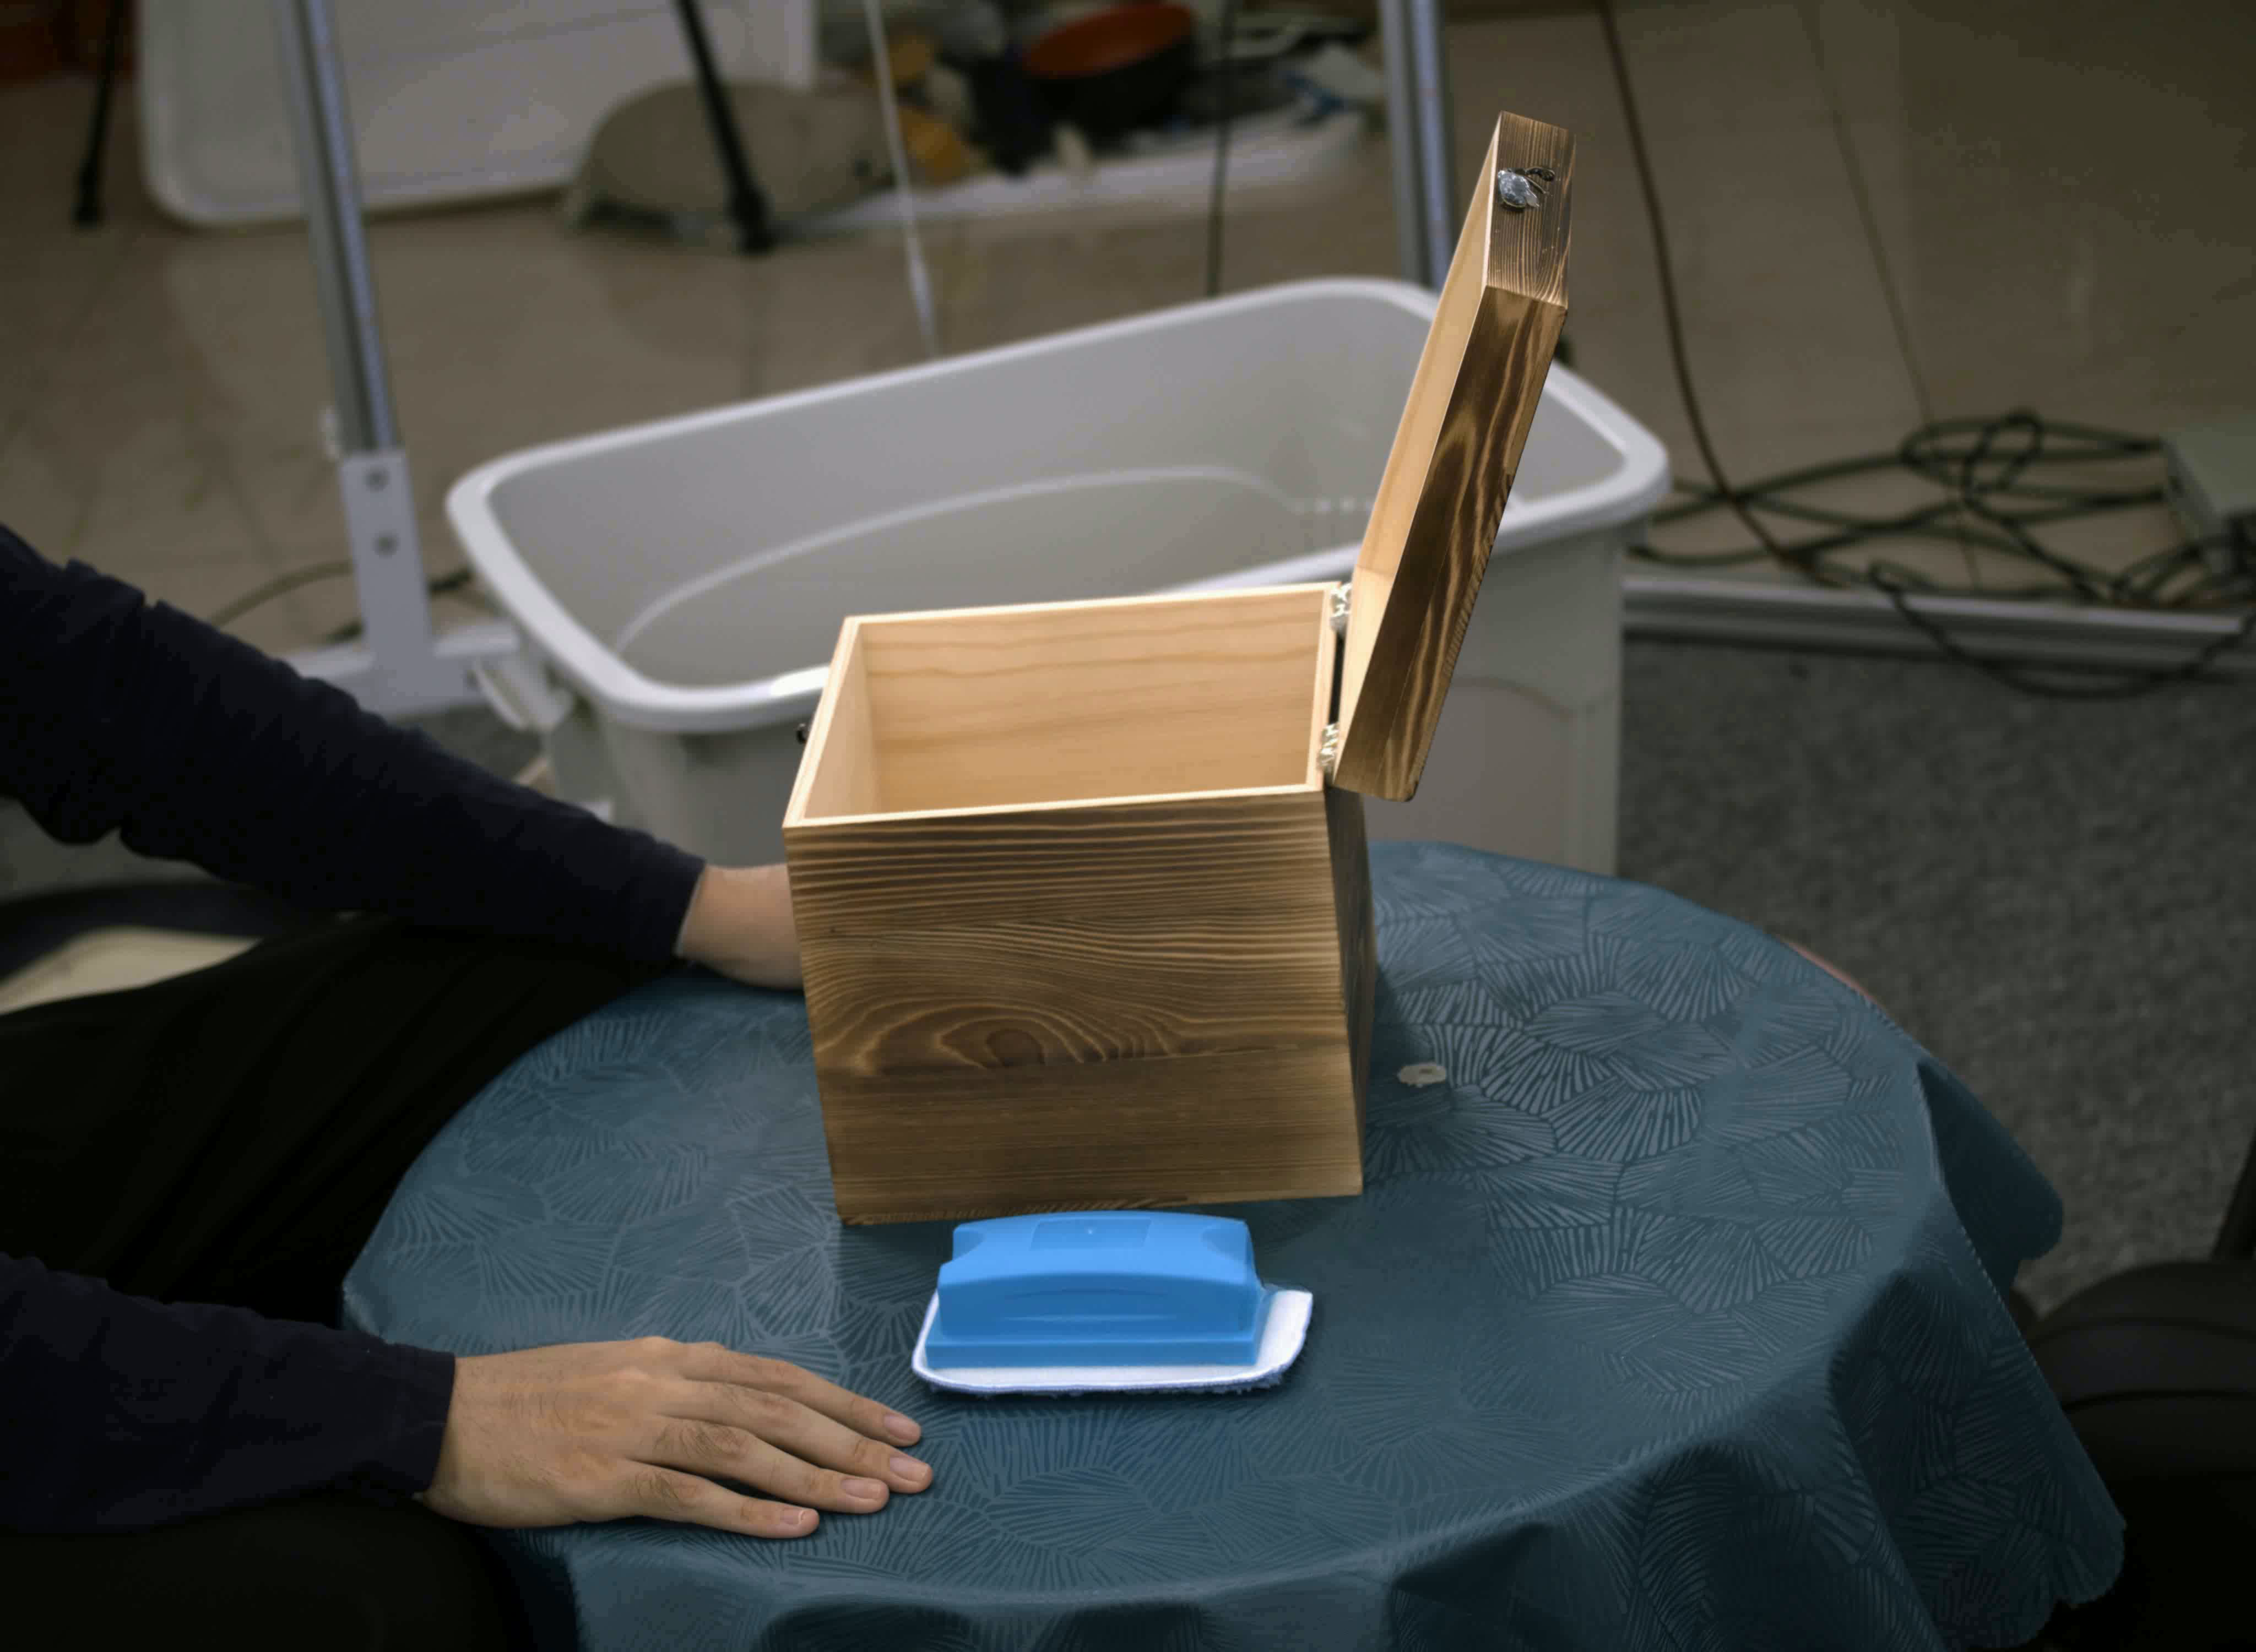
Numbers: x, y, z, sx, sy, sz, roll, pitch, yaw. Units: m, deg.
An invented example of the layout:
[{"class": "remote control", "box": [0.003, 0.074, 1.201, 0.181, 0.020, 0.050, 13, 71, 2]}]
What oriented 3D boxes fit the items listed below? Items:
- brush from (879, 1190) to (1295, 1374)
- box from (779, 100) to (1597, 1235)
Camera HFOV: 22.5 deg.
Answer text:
[{"class": "brush", "box": [-0.015, 0.162, 2.029, 0.143, 0.057, 0.083, 1, 23, 12]}, {"class": "box", "box": [0.028, -0.064, 2.143, 0.321, 0.381, 0.205, -4, 25, 6]}]
